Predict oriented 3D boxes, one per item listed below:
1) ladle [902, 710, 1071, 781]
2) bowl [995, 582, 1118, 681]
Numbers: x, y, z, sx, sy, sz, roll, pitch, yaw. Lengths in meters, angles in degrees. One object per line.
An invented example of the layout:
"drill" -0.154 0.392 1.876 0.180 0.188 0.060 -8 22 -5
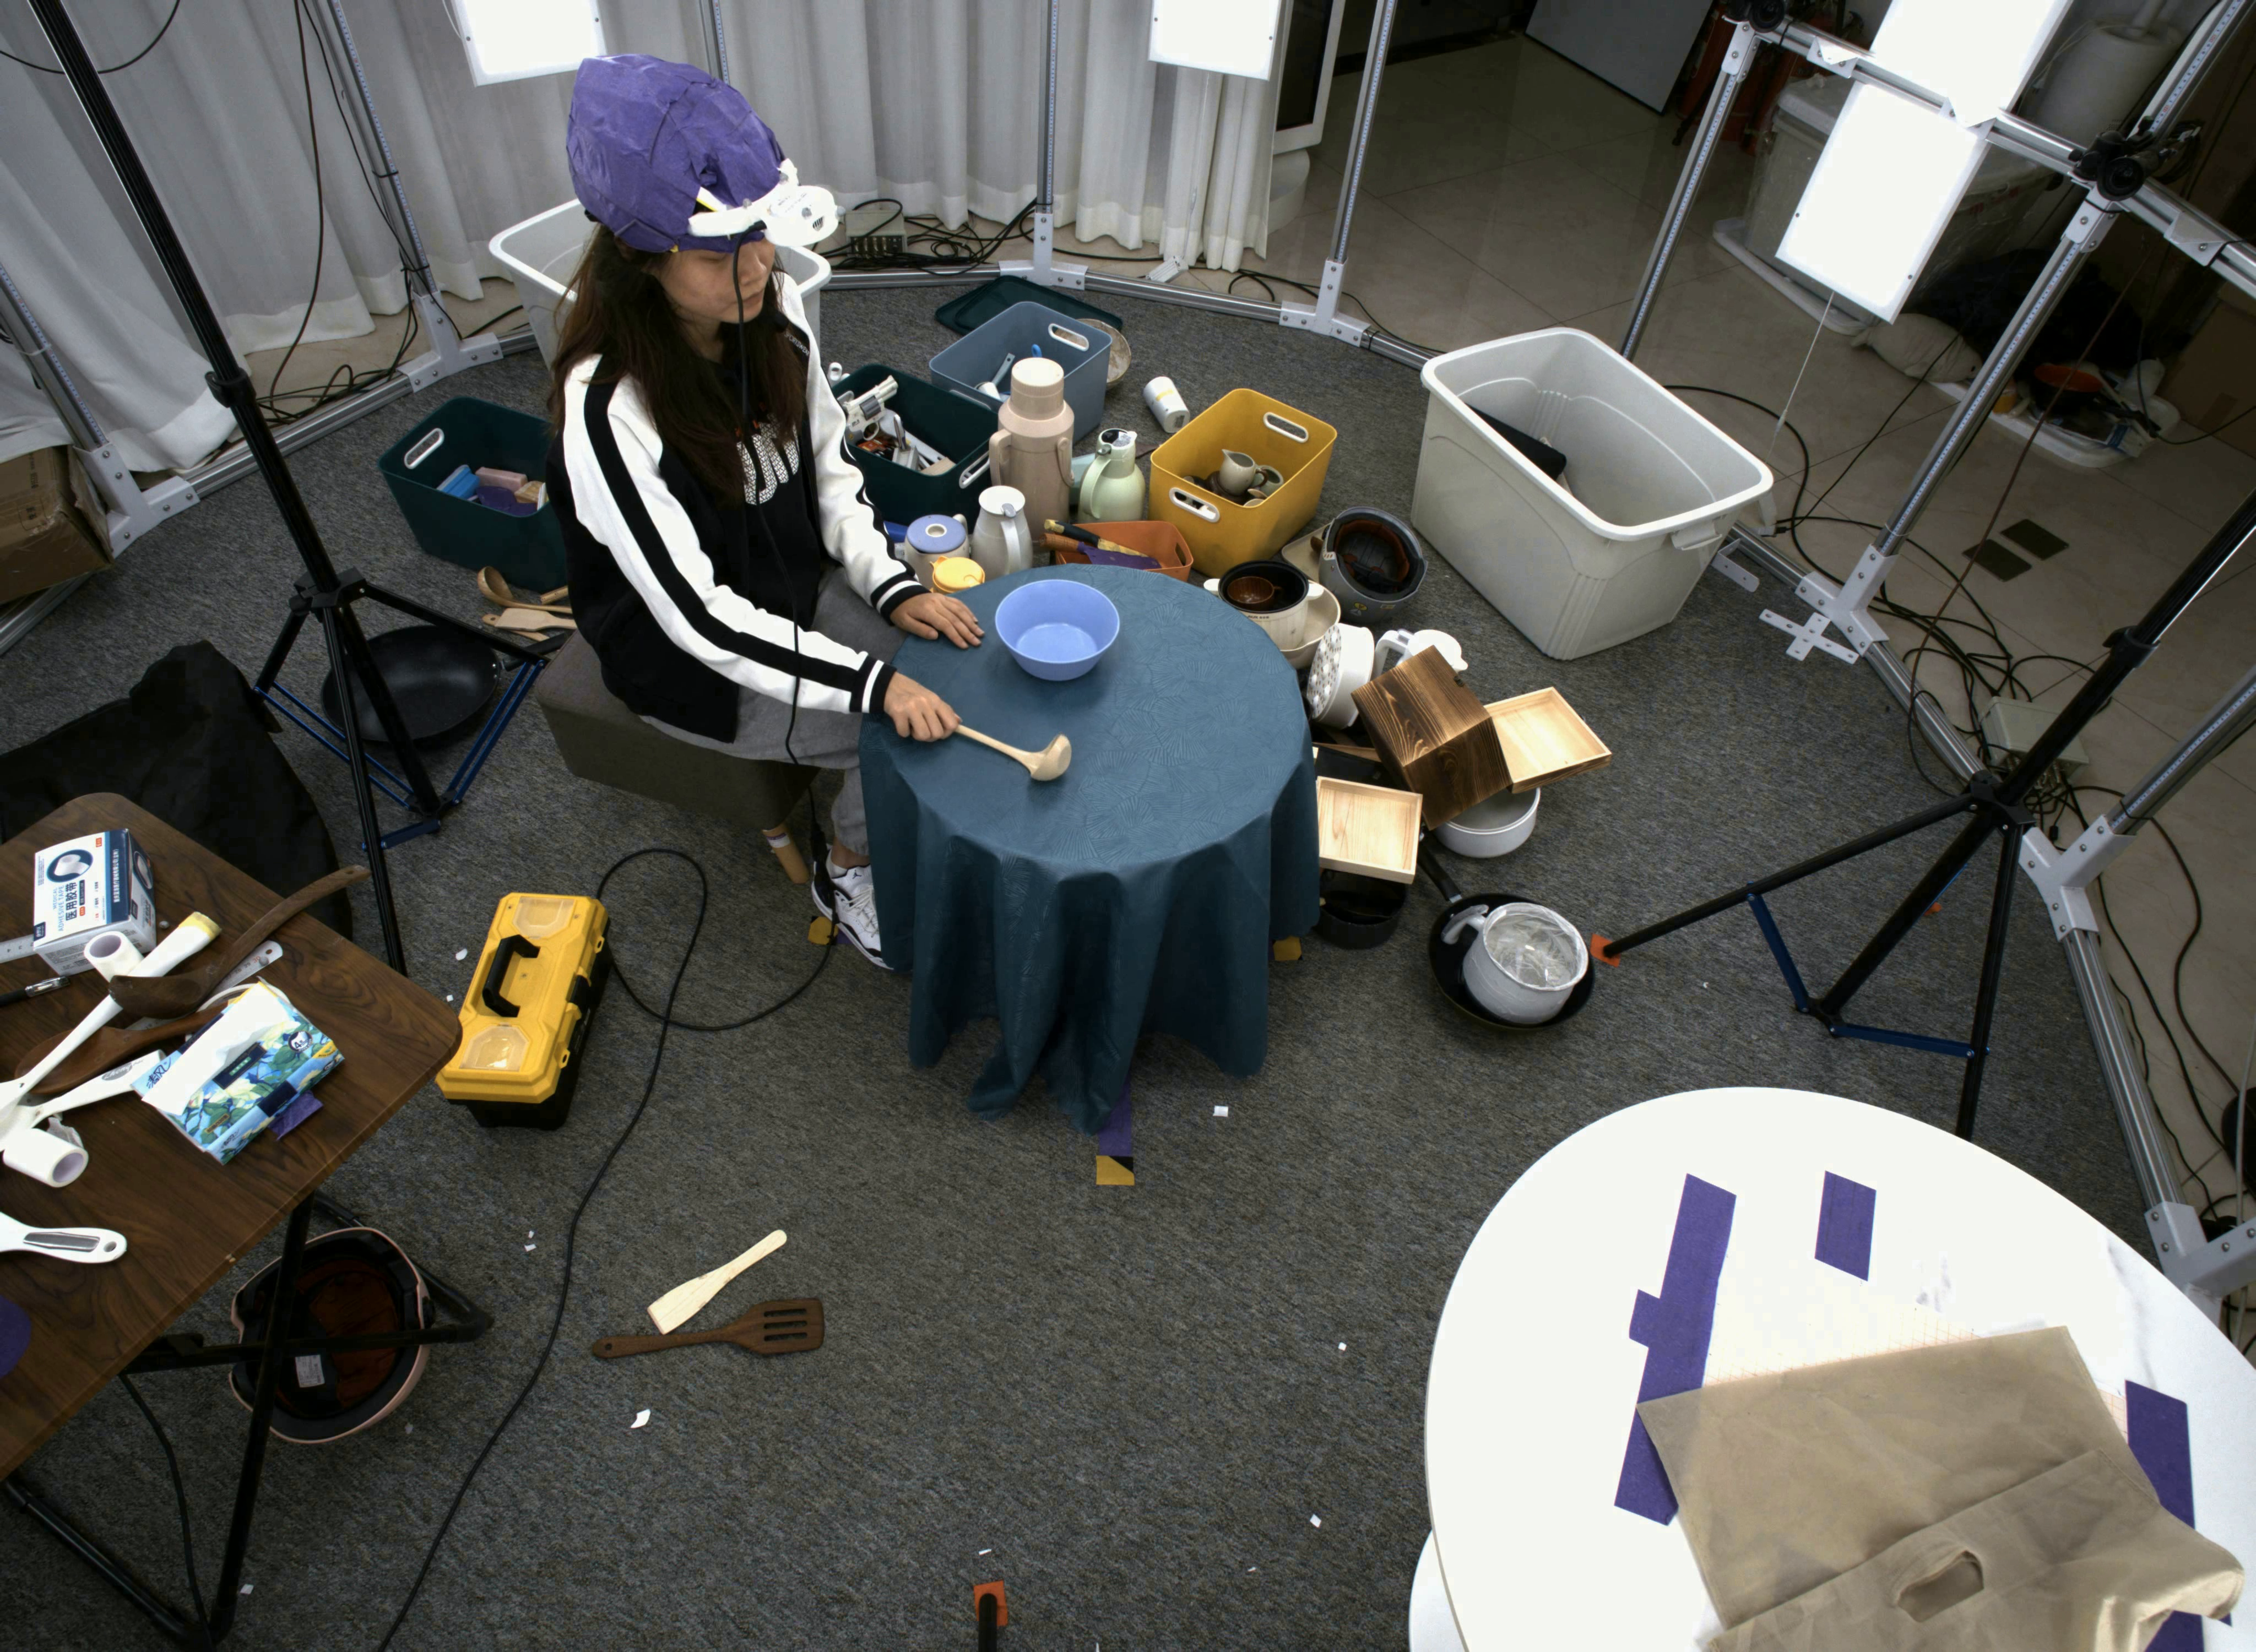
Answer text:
"ladle" -0.197 -0.129 1.722 0.256 0.071 0.073 21 62 14
"bowl" -0.103 -0.272 1.853 0.176 0.068 0.180 2 48 -3
